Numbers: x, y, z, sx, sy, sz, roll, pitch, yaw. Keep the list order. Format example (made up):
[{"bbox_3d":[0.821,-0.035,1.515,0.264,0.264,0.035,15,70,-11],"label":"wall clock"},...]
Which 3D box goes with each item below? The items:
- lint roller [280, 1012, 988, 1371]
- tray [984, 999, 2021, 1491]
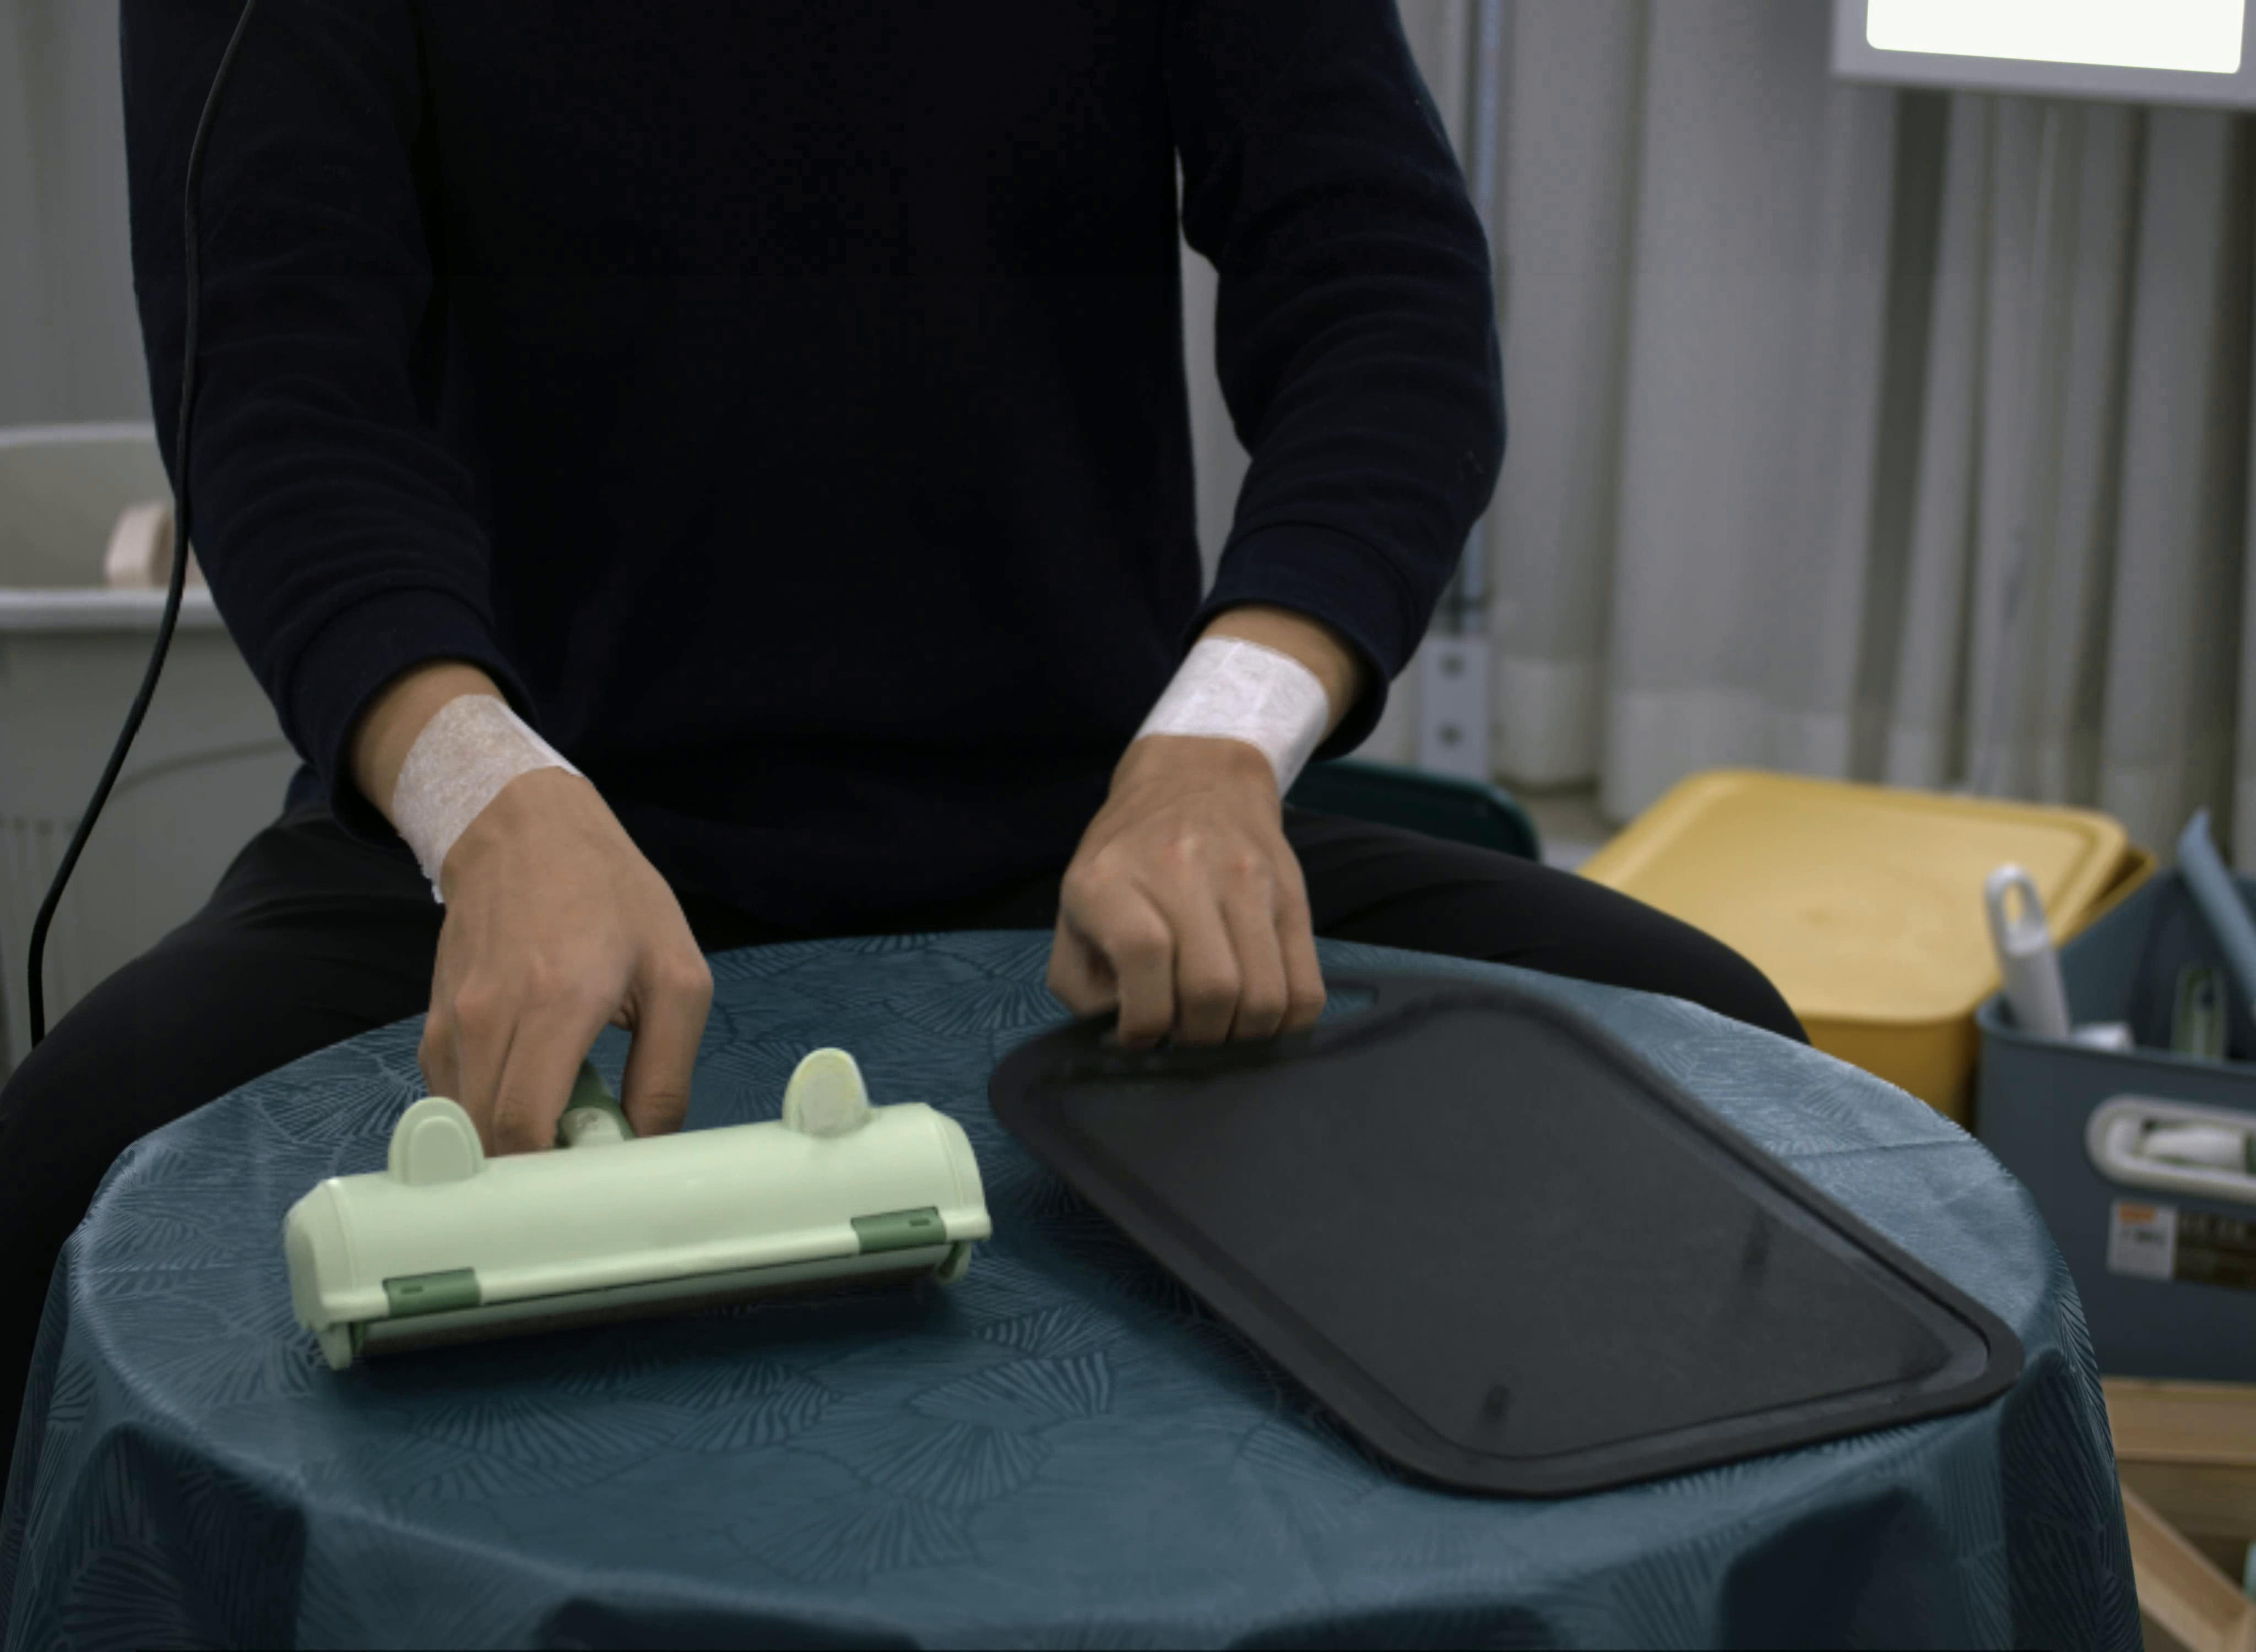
[{"bbox_3d":[-0.159,0.082,1.537,0.199,0.083,0.181,-6,32,-20],"label":"lint roller"},{"bbox_3d":[0.099,0.113,1.551,0.212,0.010,0.321,-8,24,-28],"label":"tray"}]
